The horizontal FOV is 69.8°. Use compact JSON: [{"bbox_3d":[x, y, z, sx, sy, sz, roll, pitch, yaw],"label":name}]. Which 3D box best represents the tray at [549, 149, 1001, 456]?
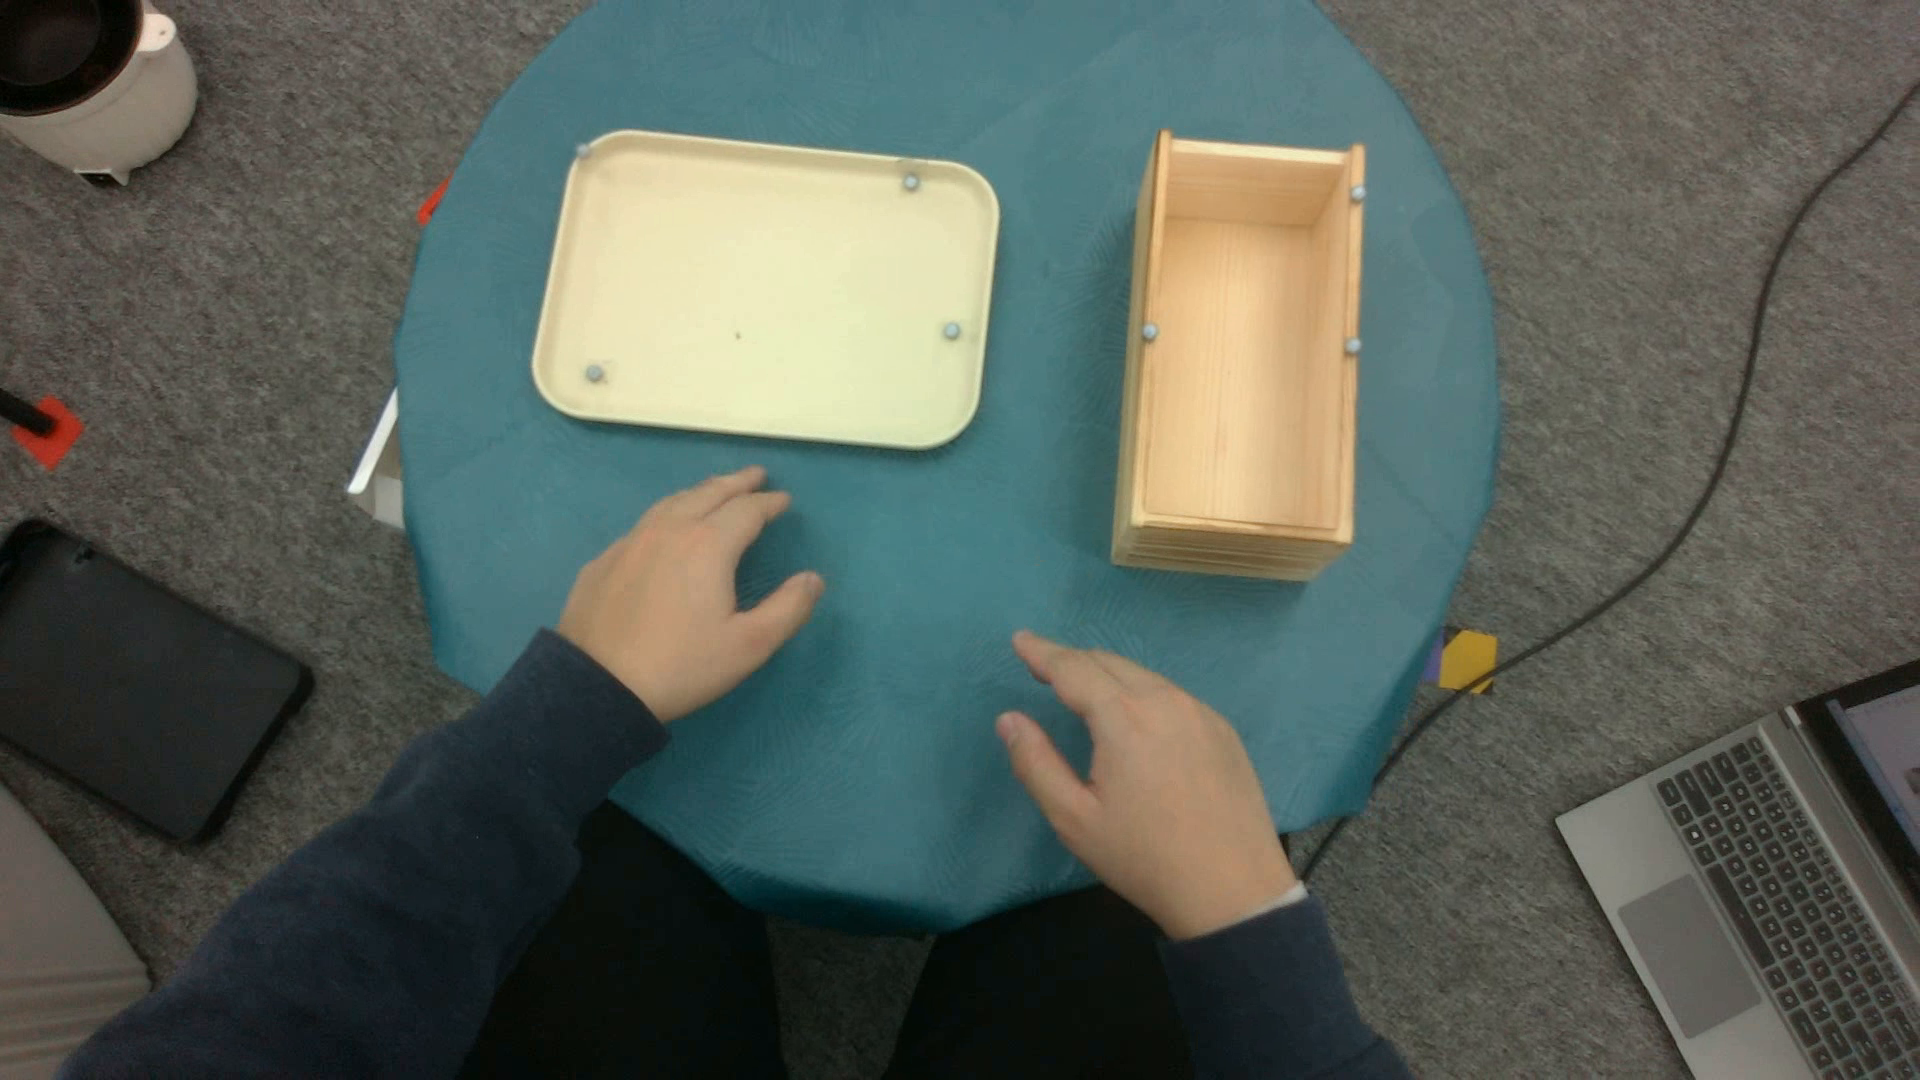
[{"bbox_3d":[-0.100,-0.133,0.767,0.239,0.017,0.171,5,75,1],"label":"tray"}]

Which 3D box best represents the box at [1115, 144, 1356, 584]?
[{"bbox_3d":[0.144,-0.091,0.723,0.107,0.080,0.212,5,74,2],"label":"box"}]
